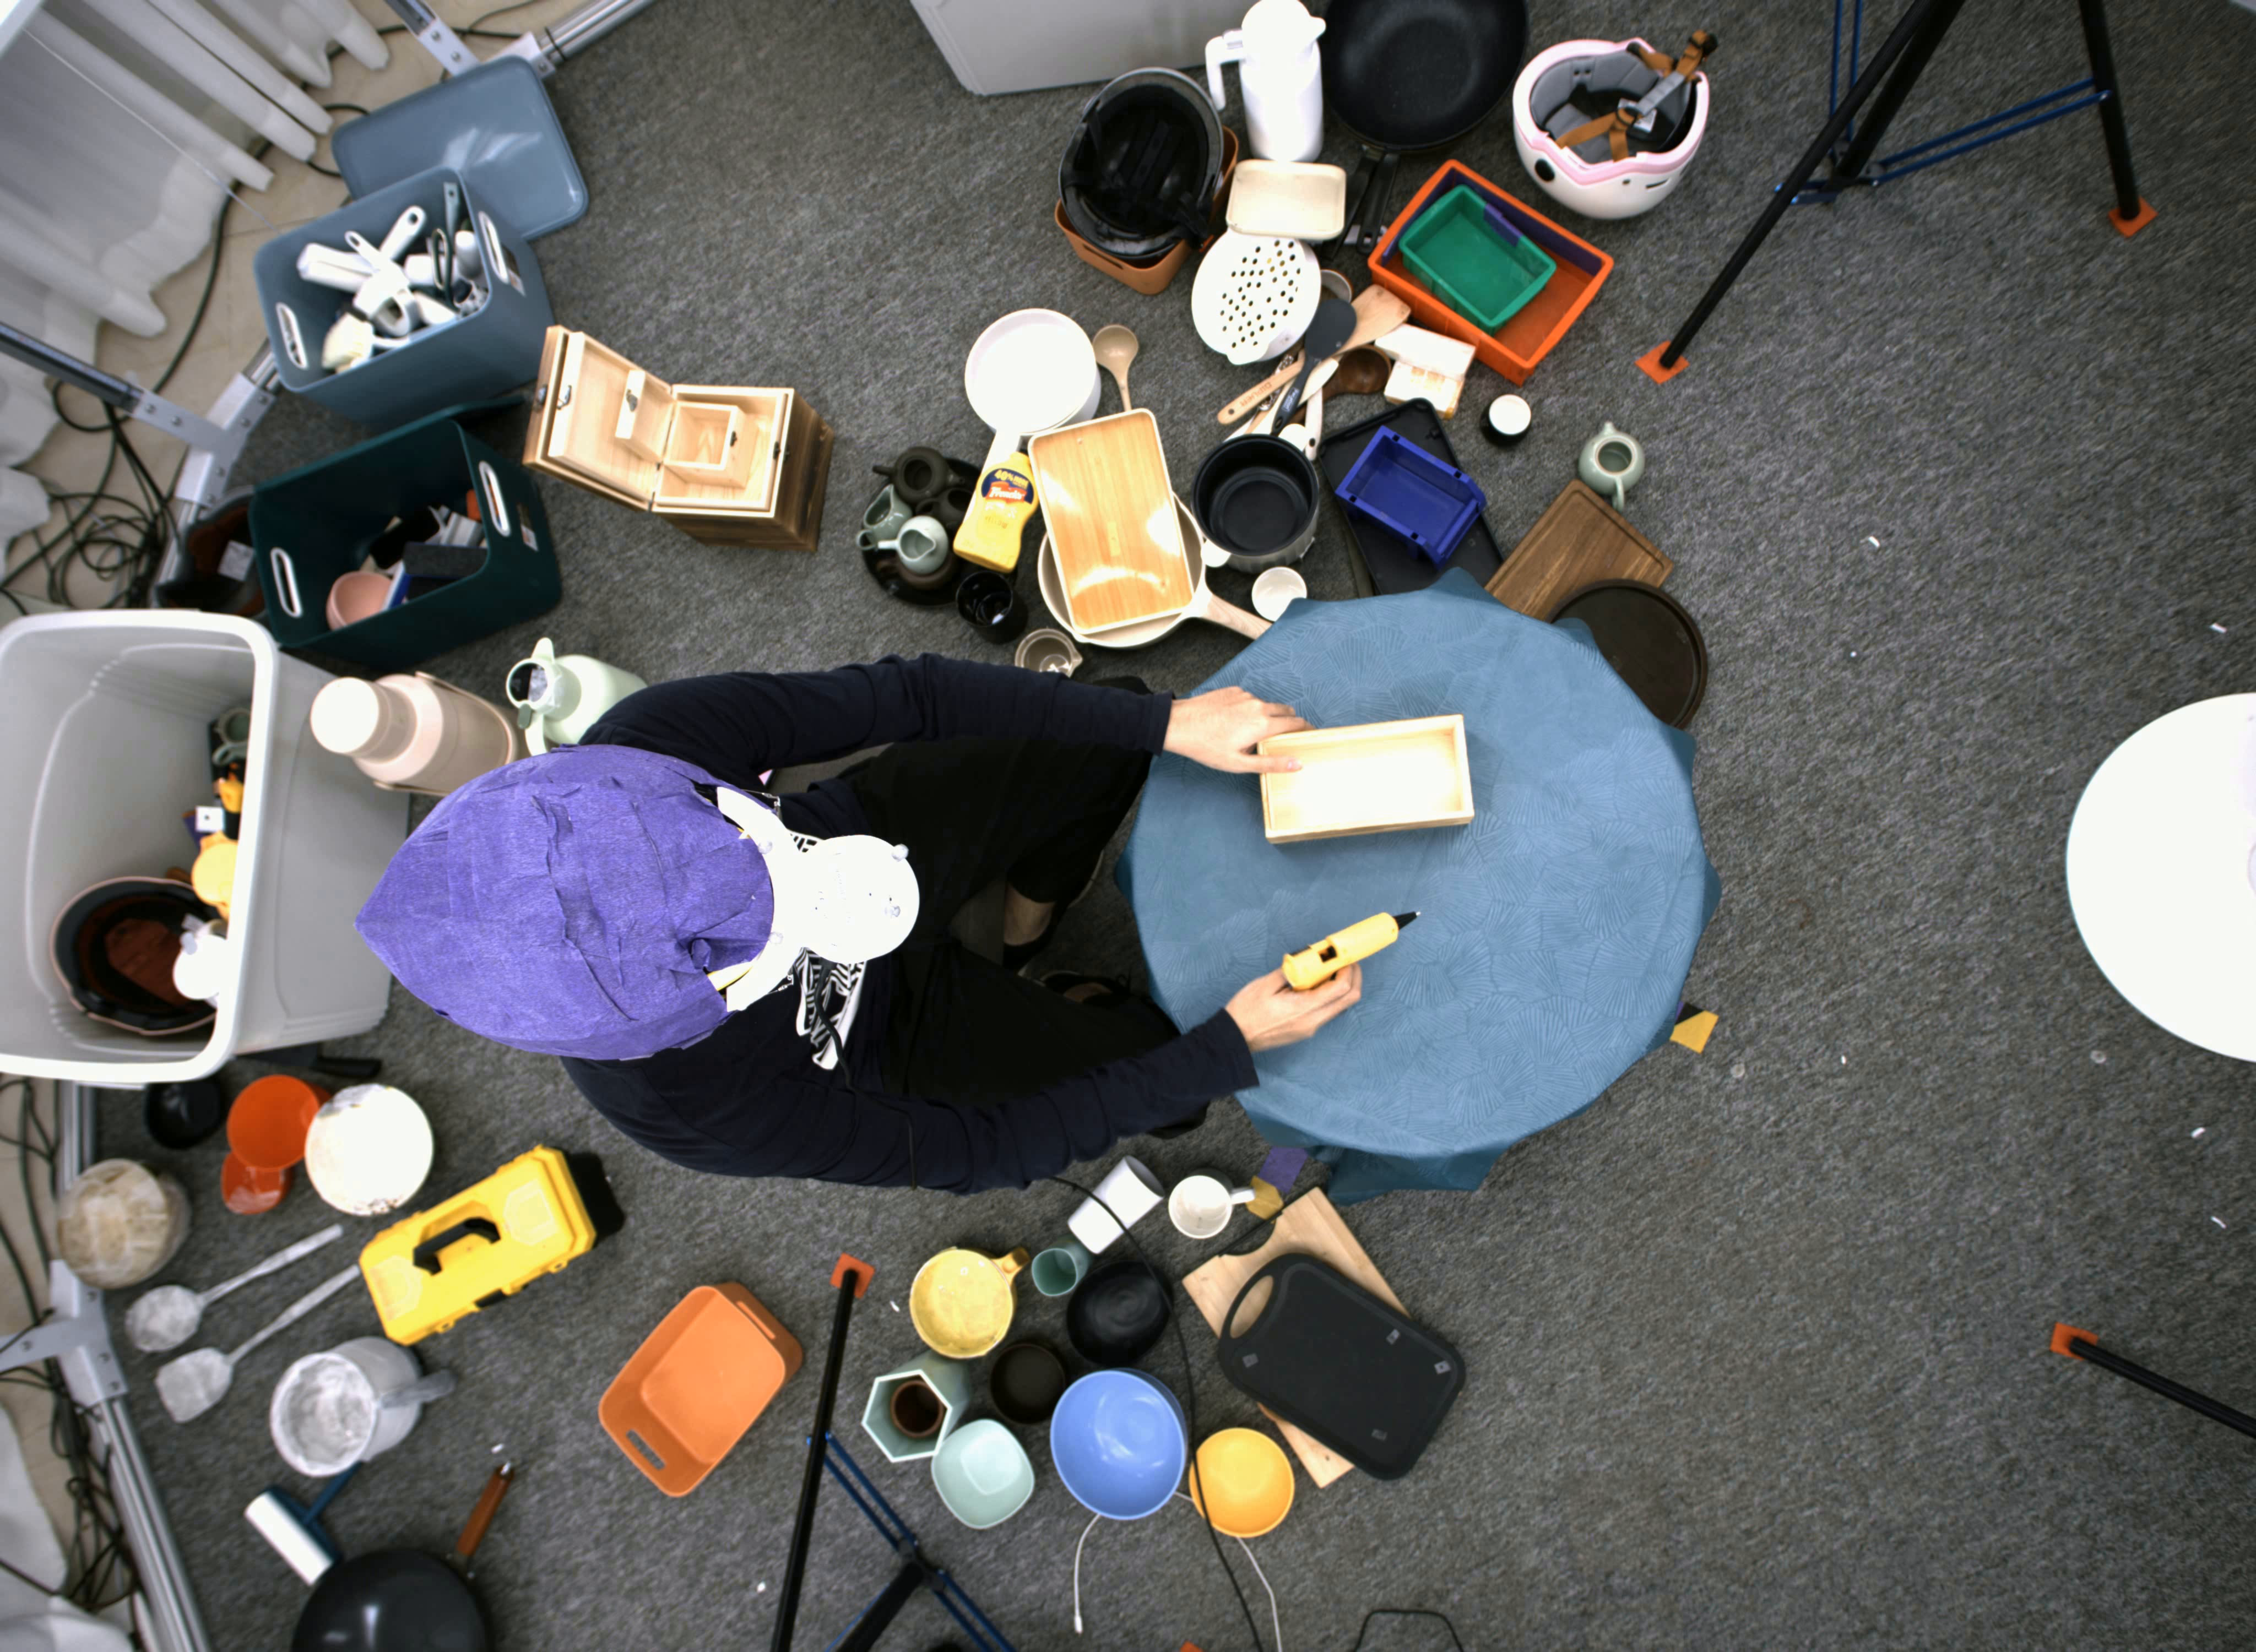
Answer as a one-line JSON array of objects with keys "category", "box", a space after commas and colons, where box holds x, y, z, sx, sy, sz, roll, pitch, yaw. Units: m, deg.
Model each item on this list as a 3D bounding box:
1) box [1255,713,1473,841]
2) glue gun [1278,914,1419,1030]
[{"category": "box", "box": [0.244, -0.050, 1.431, 0.212, 0.080, 0.107, -6, 84, 9]}, {"category": "glue gun", "box": [0.221, 0.138, 1.375, 0.151, 0.136, 0.030, -22, 53, -8]}]
